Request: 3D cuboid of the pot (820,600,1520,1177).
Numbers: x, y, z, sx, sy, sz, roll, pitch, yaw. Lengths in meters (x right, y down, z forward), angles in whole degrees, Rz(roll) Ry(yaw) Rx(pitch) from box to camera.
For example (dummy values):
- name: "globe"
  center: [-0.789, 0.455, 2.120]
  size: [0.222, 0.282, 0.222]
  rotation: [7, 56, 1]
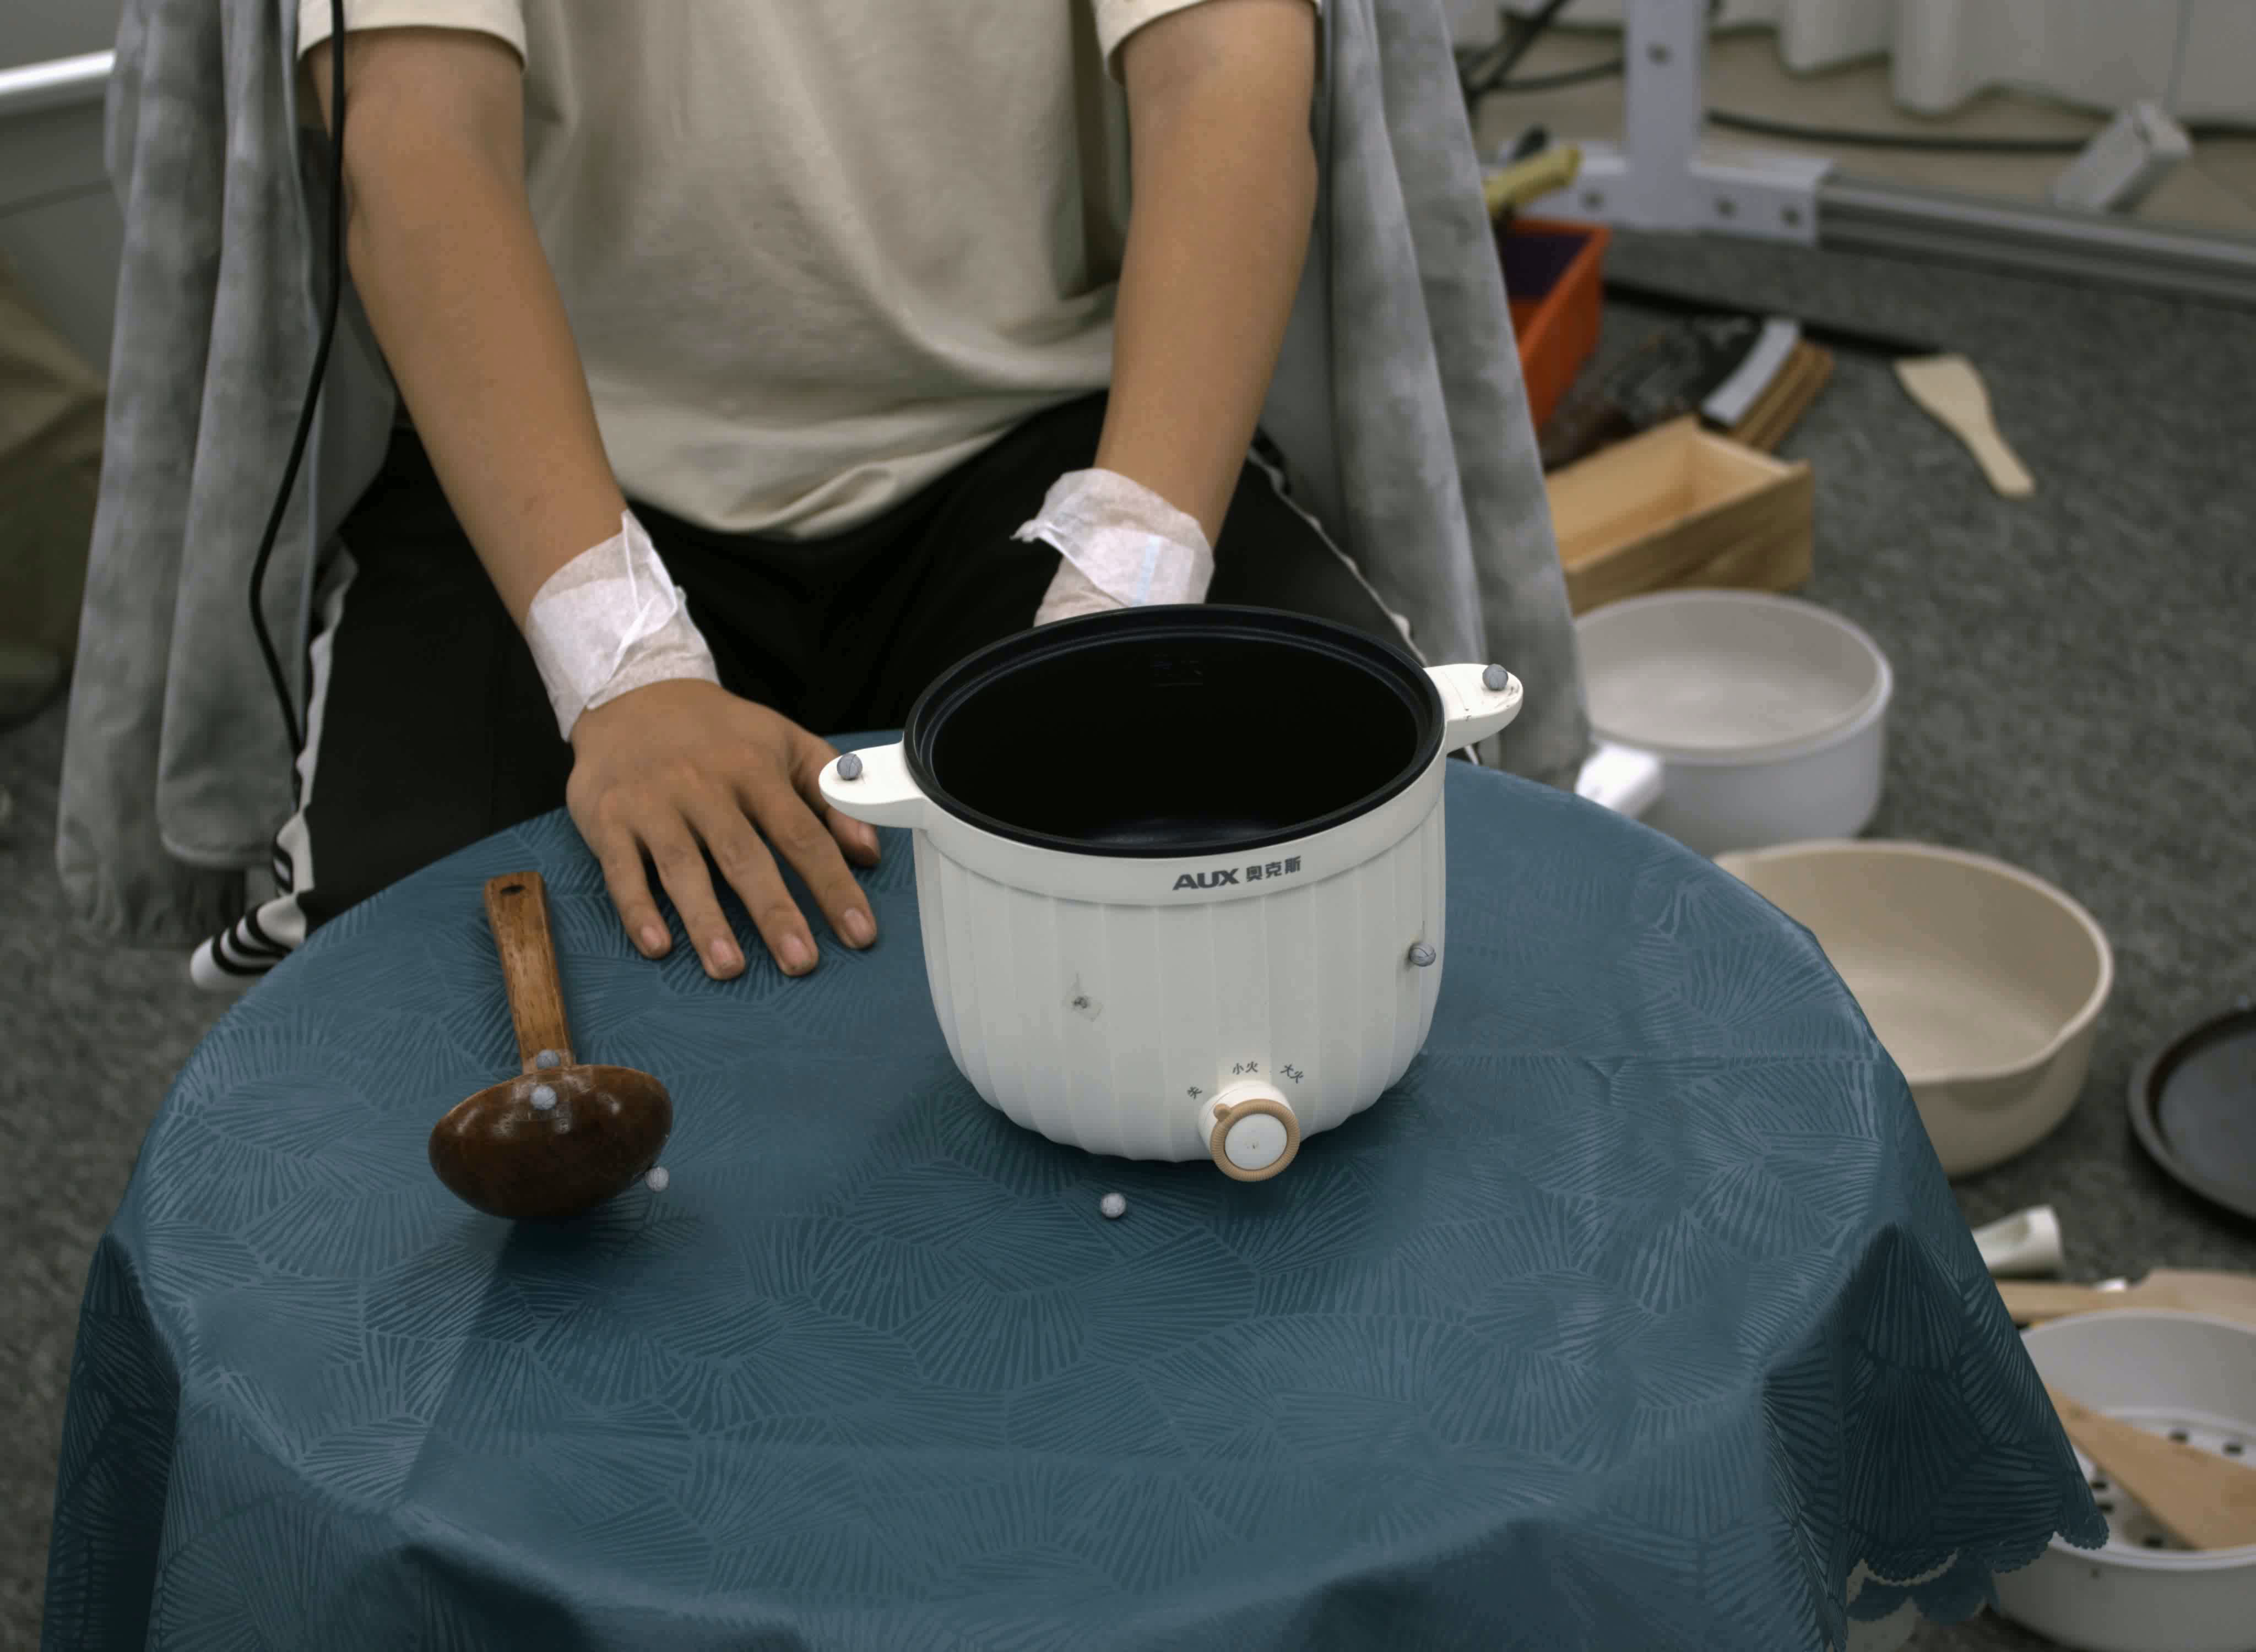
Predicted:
- name: "pot"
  center: [0.021, 0.025, 1.895]
  size: [0.240, 0.141, 0.192]
  rotation: [-10, 24, -10]

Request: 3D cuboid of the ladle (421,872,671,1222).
- name: "ladle"
  center: [-0.204, 0.056, 1.927]
  size: [0.081, 0.076, 0.277]
  rotation: [-9, 28, -4]
